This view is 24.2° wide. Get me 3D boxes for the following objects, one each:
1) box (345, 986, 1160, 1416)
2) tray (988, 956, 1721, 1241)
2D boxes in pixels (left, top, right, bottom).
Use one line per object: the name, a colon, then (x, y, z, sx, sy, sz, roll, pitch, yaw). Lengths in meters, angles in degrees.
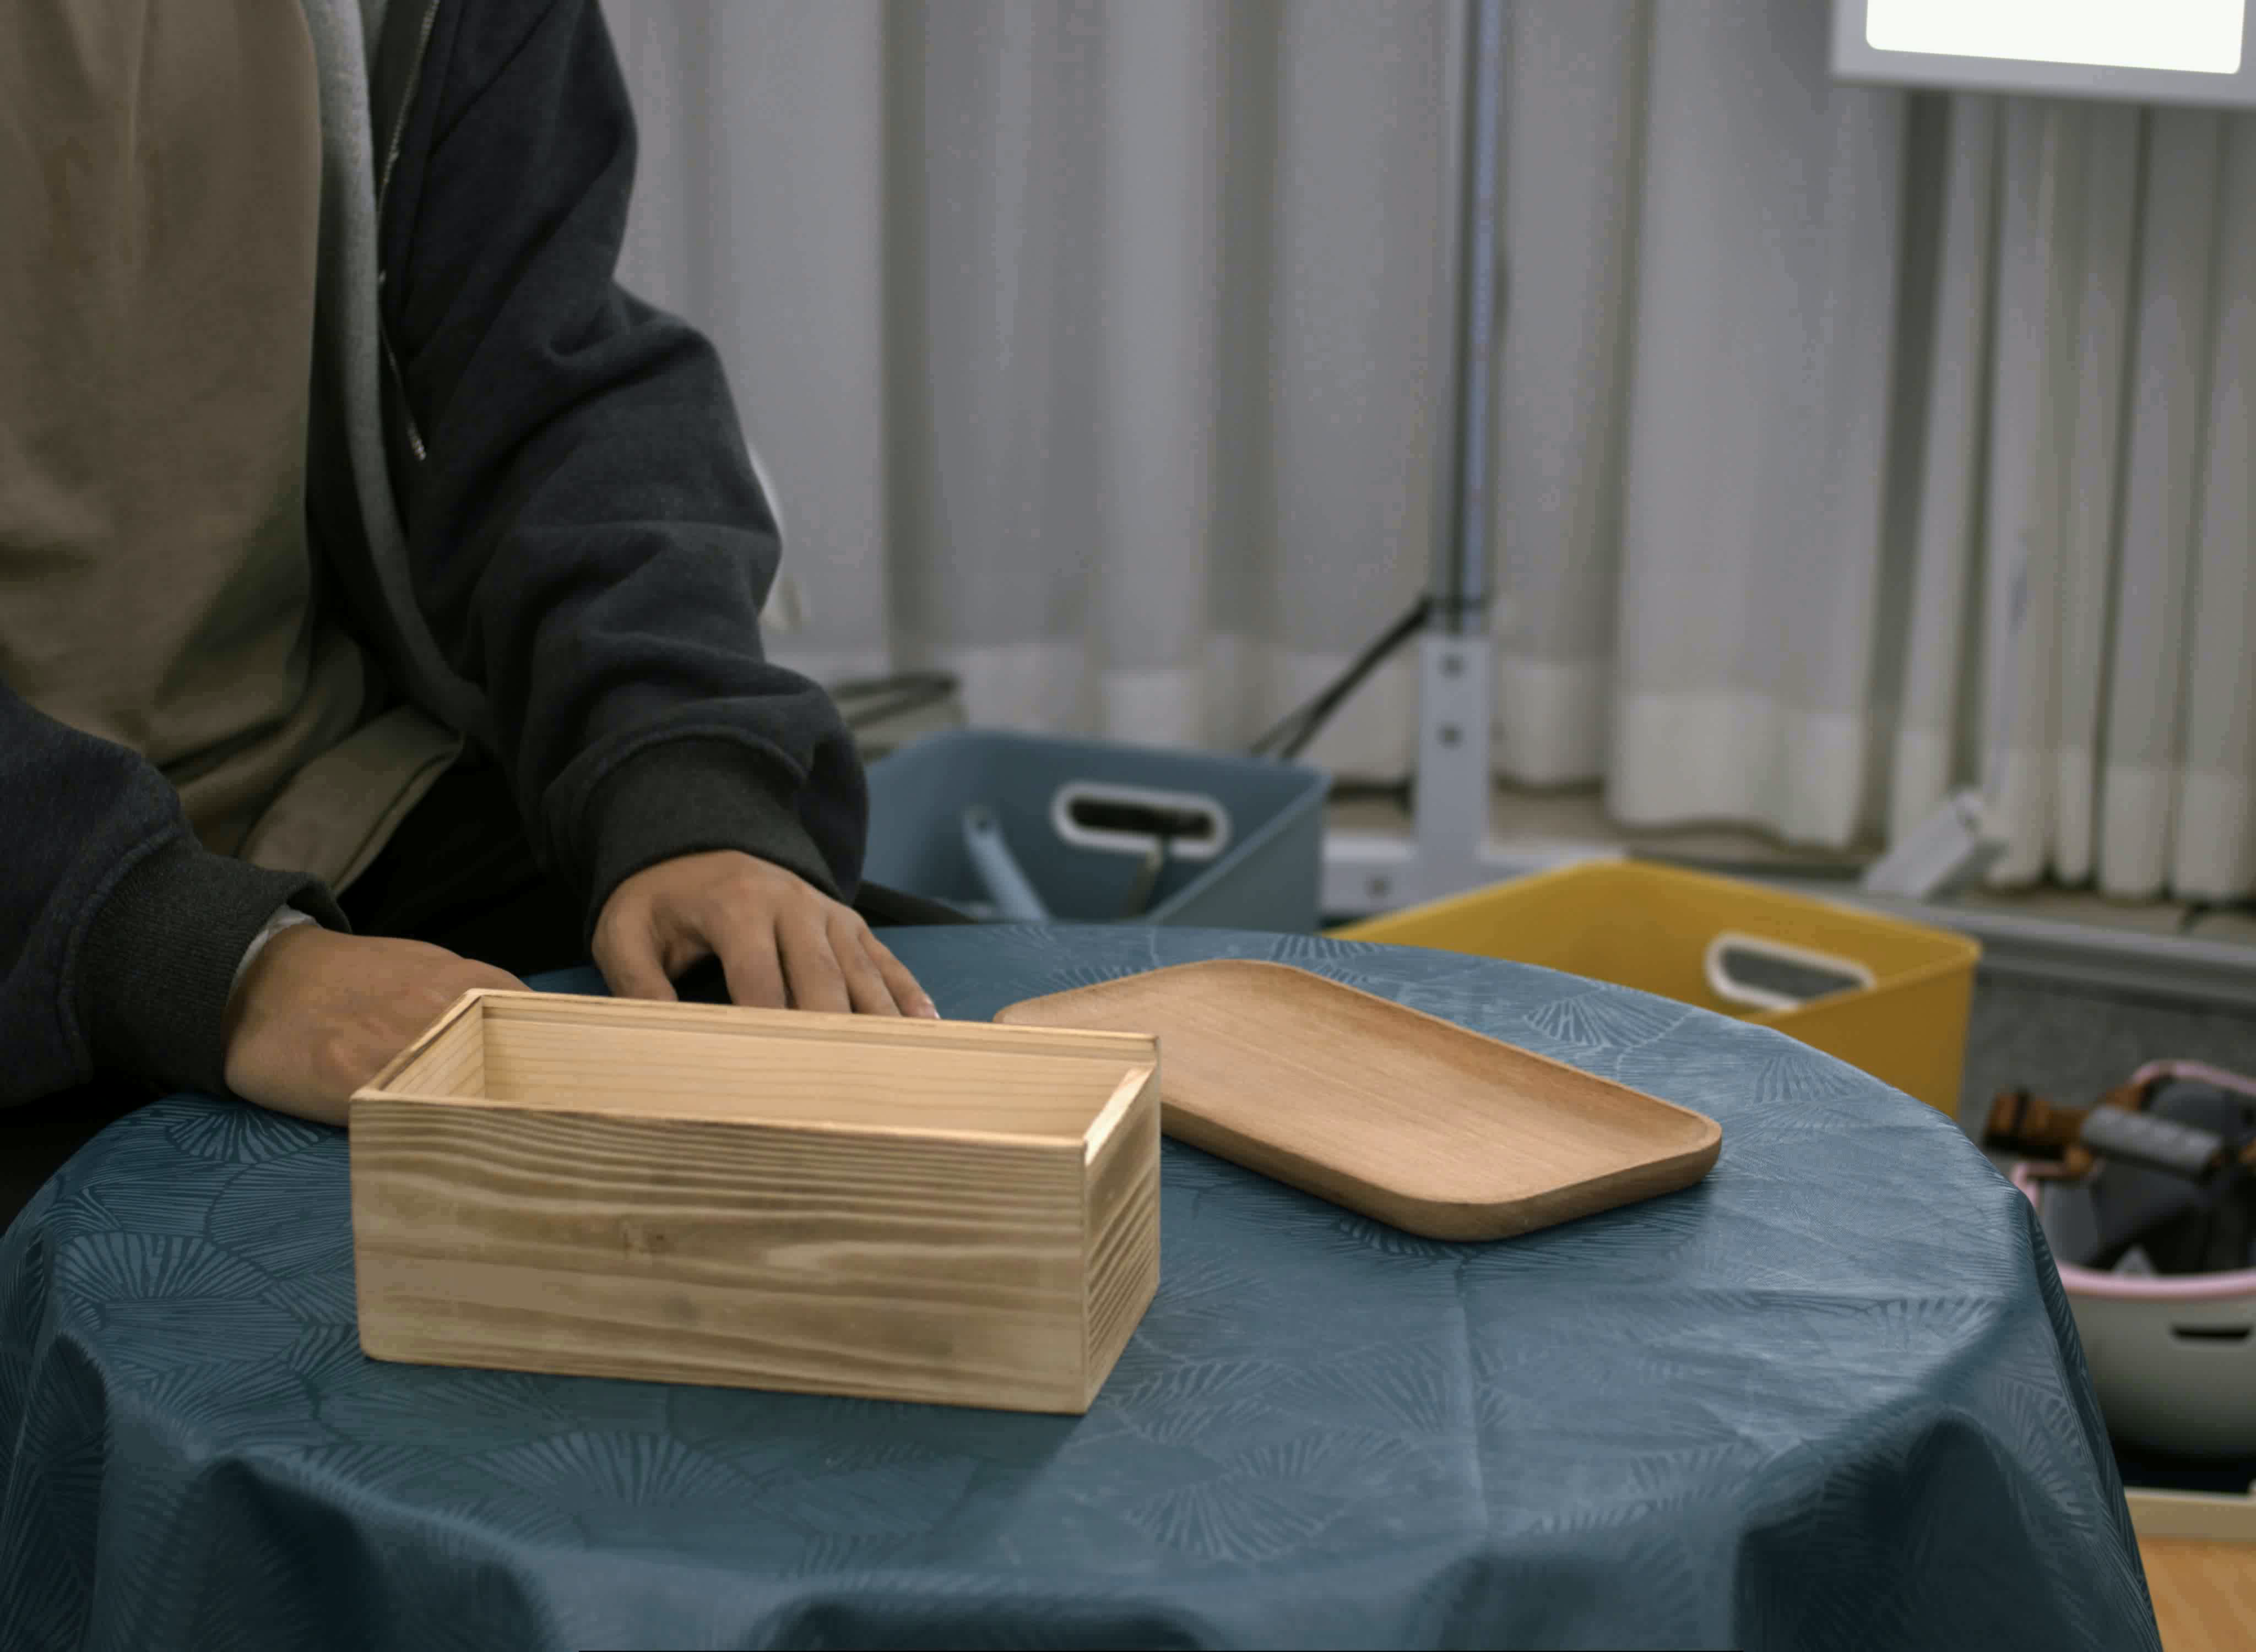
box: (-0.104, 0.104, 1.498, 0.210, 0.081, 0.107, 3, 16, 10)
tray: (0.069, 0.085, 1.691, 0.131, 0.023, 0.247, -8, 17, -38)
